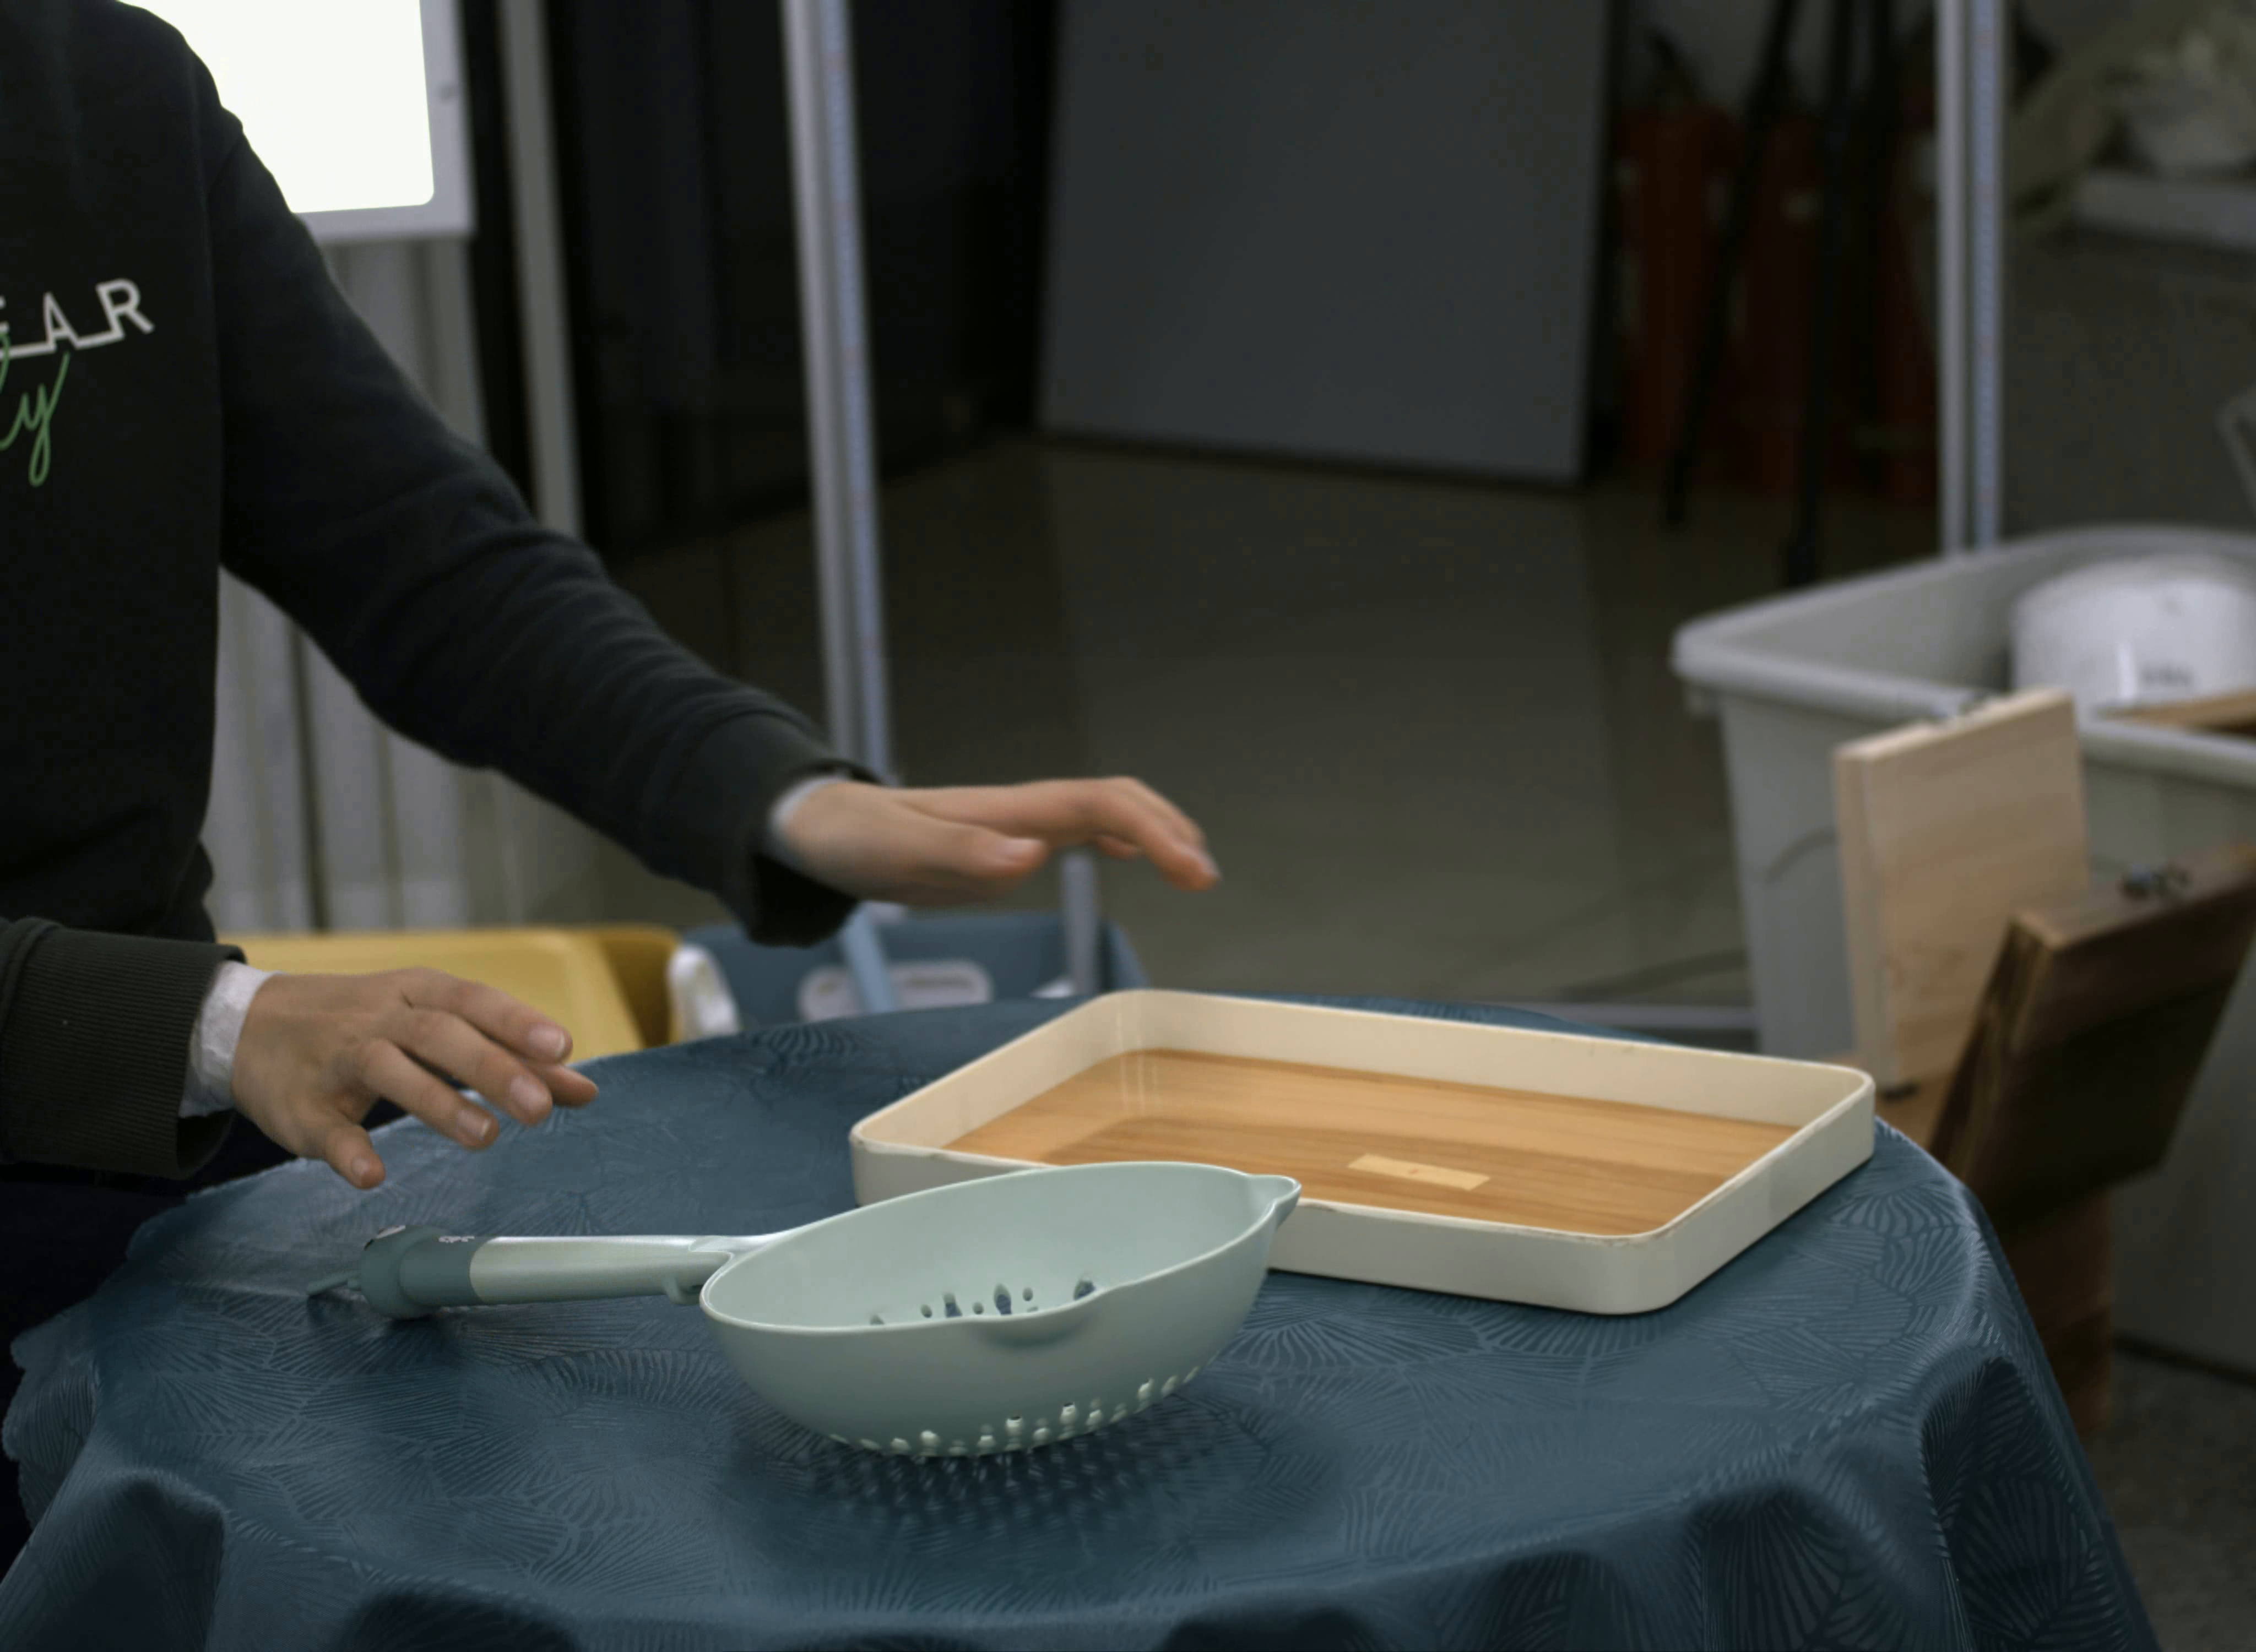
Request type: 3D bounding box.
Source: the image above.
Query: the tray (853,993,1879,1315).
[{"bbox_3d":[0.078,0.104,1.763,0.302,0.028,0.188,5,17,32],"label":"tray"}]

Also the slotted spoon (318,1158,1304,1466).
[{"bbox_3d":[-0.114,0.137,1.609,0.361,0.076,0.166,6,16,36],"label":"slotted spoon"}]
